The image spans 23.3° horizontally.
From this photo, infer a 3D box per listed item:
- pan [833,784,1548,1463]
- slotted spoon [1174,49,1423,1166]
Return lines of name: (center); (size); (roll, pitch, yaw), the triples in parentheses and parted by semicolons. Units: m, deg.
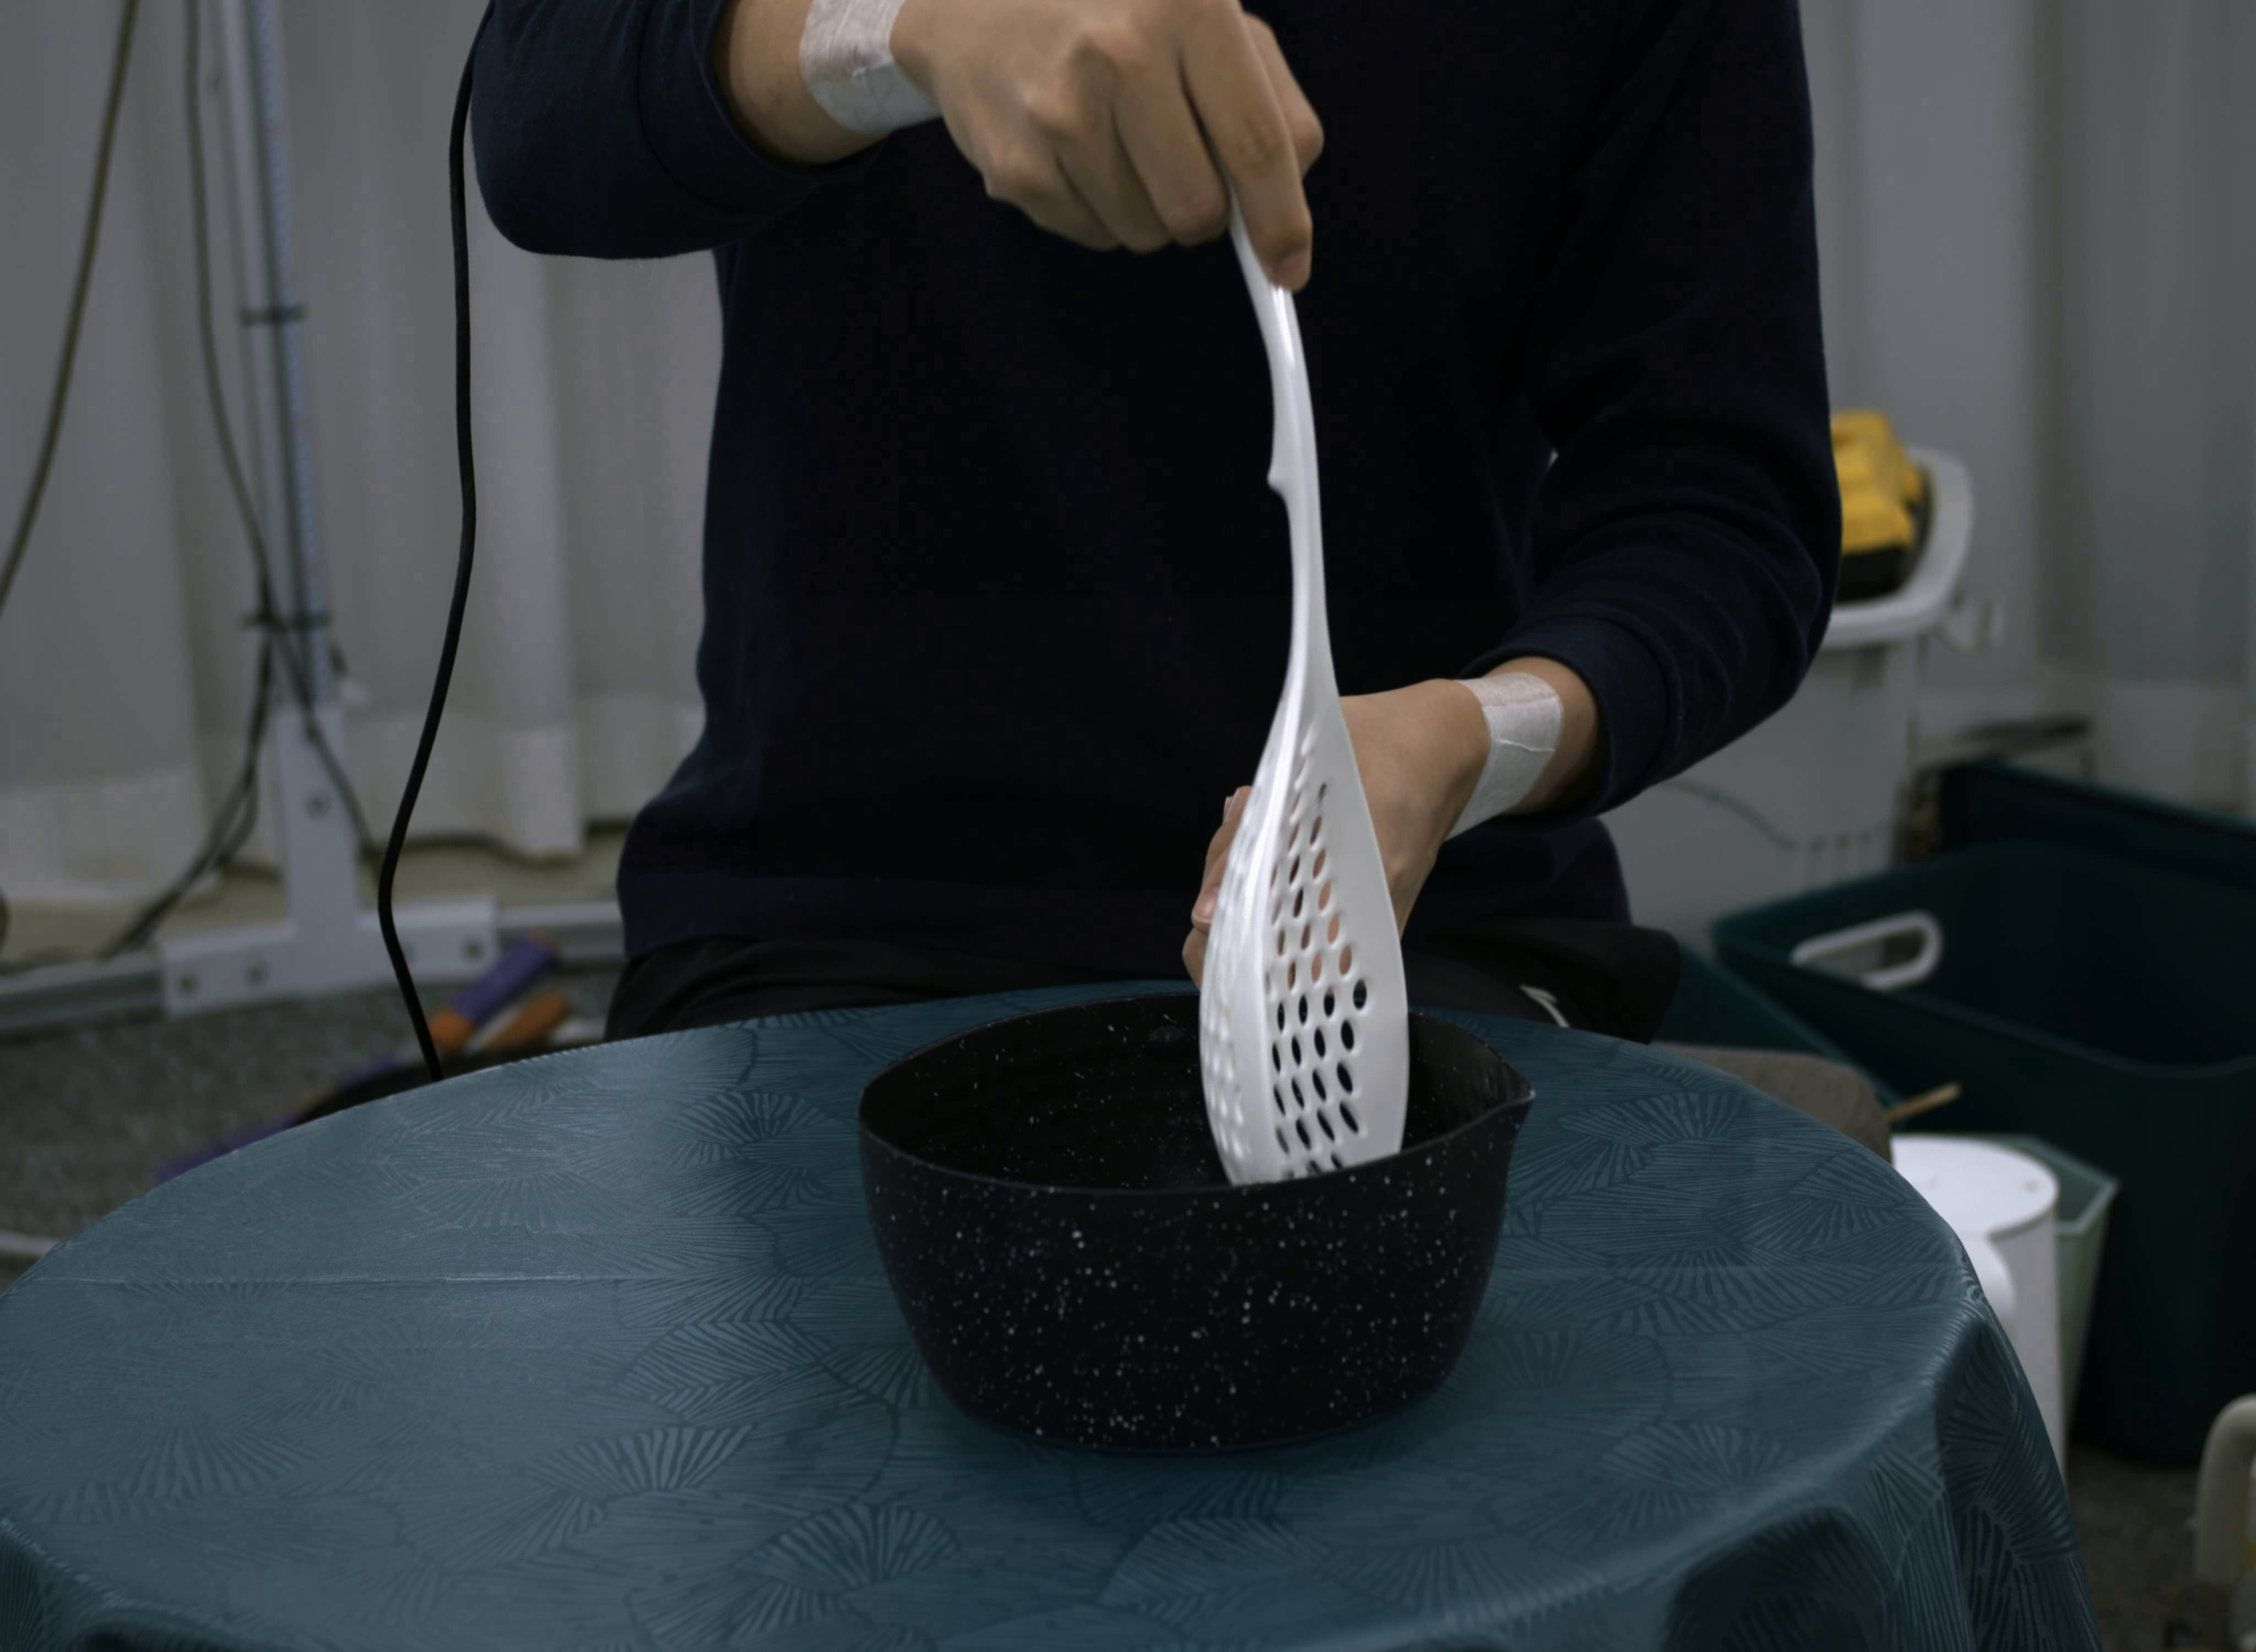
pan: (0.028, 0.082, 1.627); (0.207, 0.108, 0.345); (-2, 16, 9)
slotted spoon: (0.041, -0.041, 1.519); (0.050, 0.346, 0.137); (4, 15, 18)
